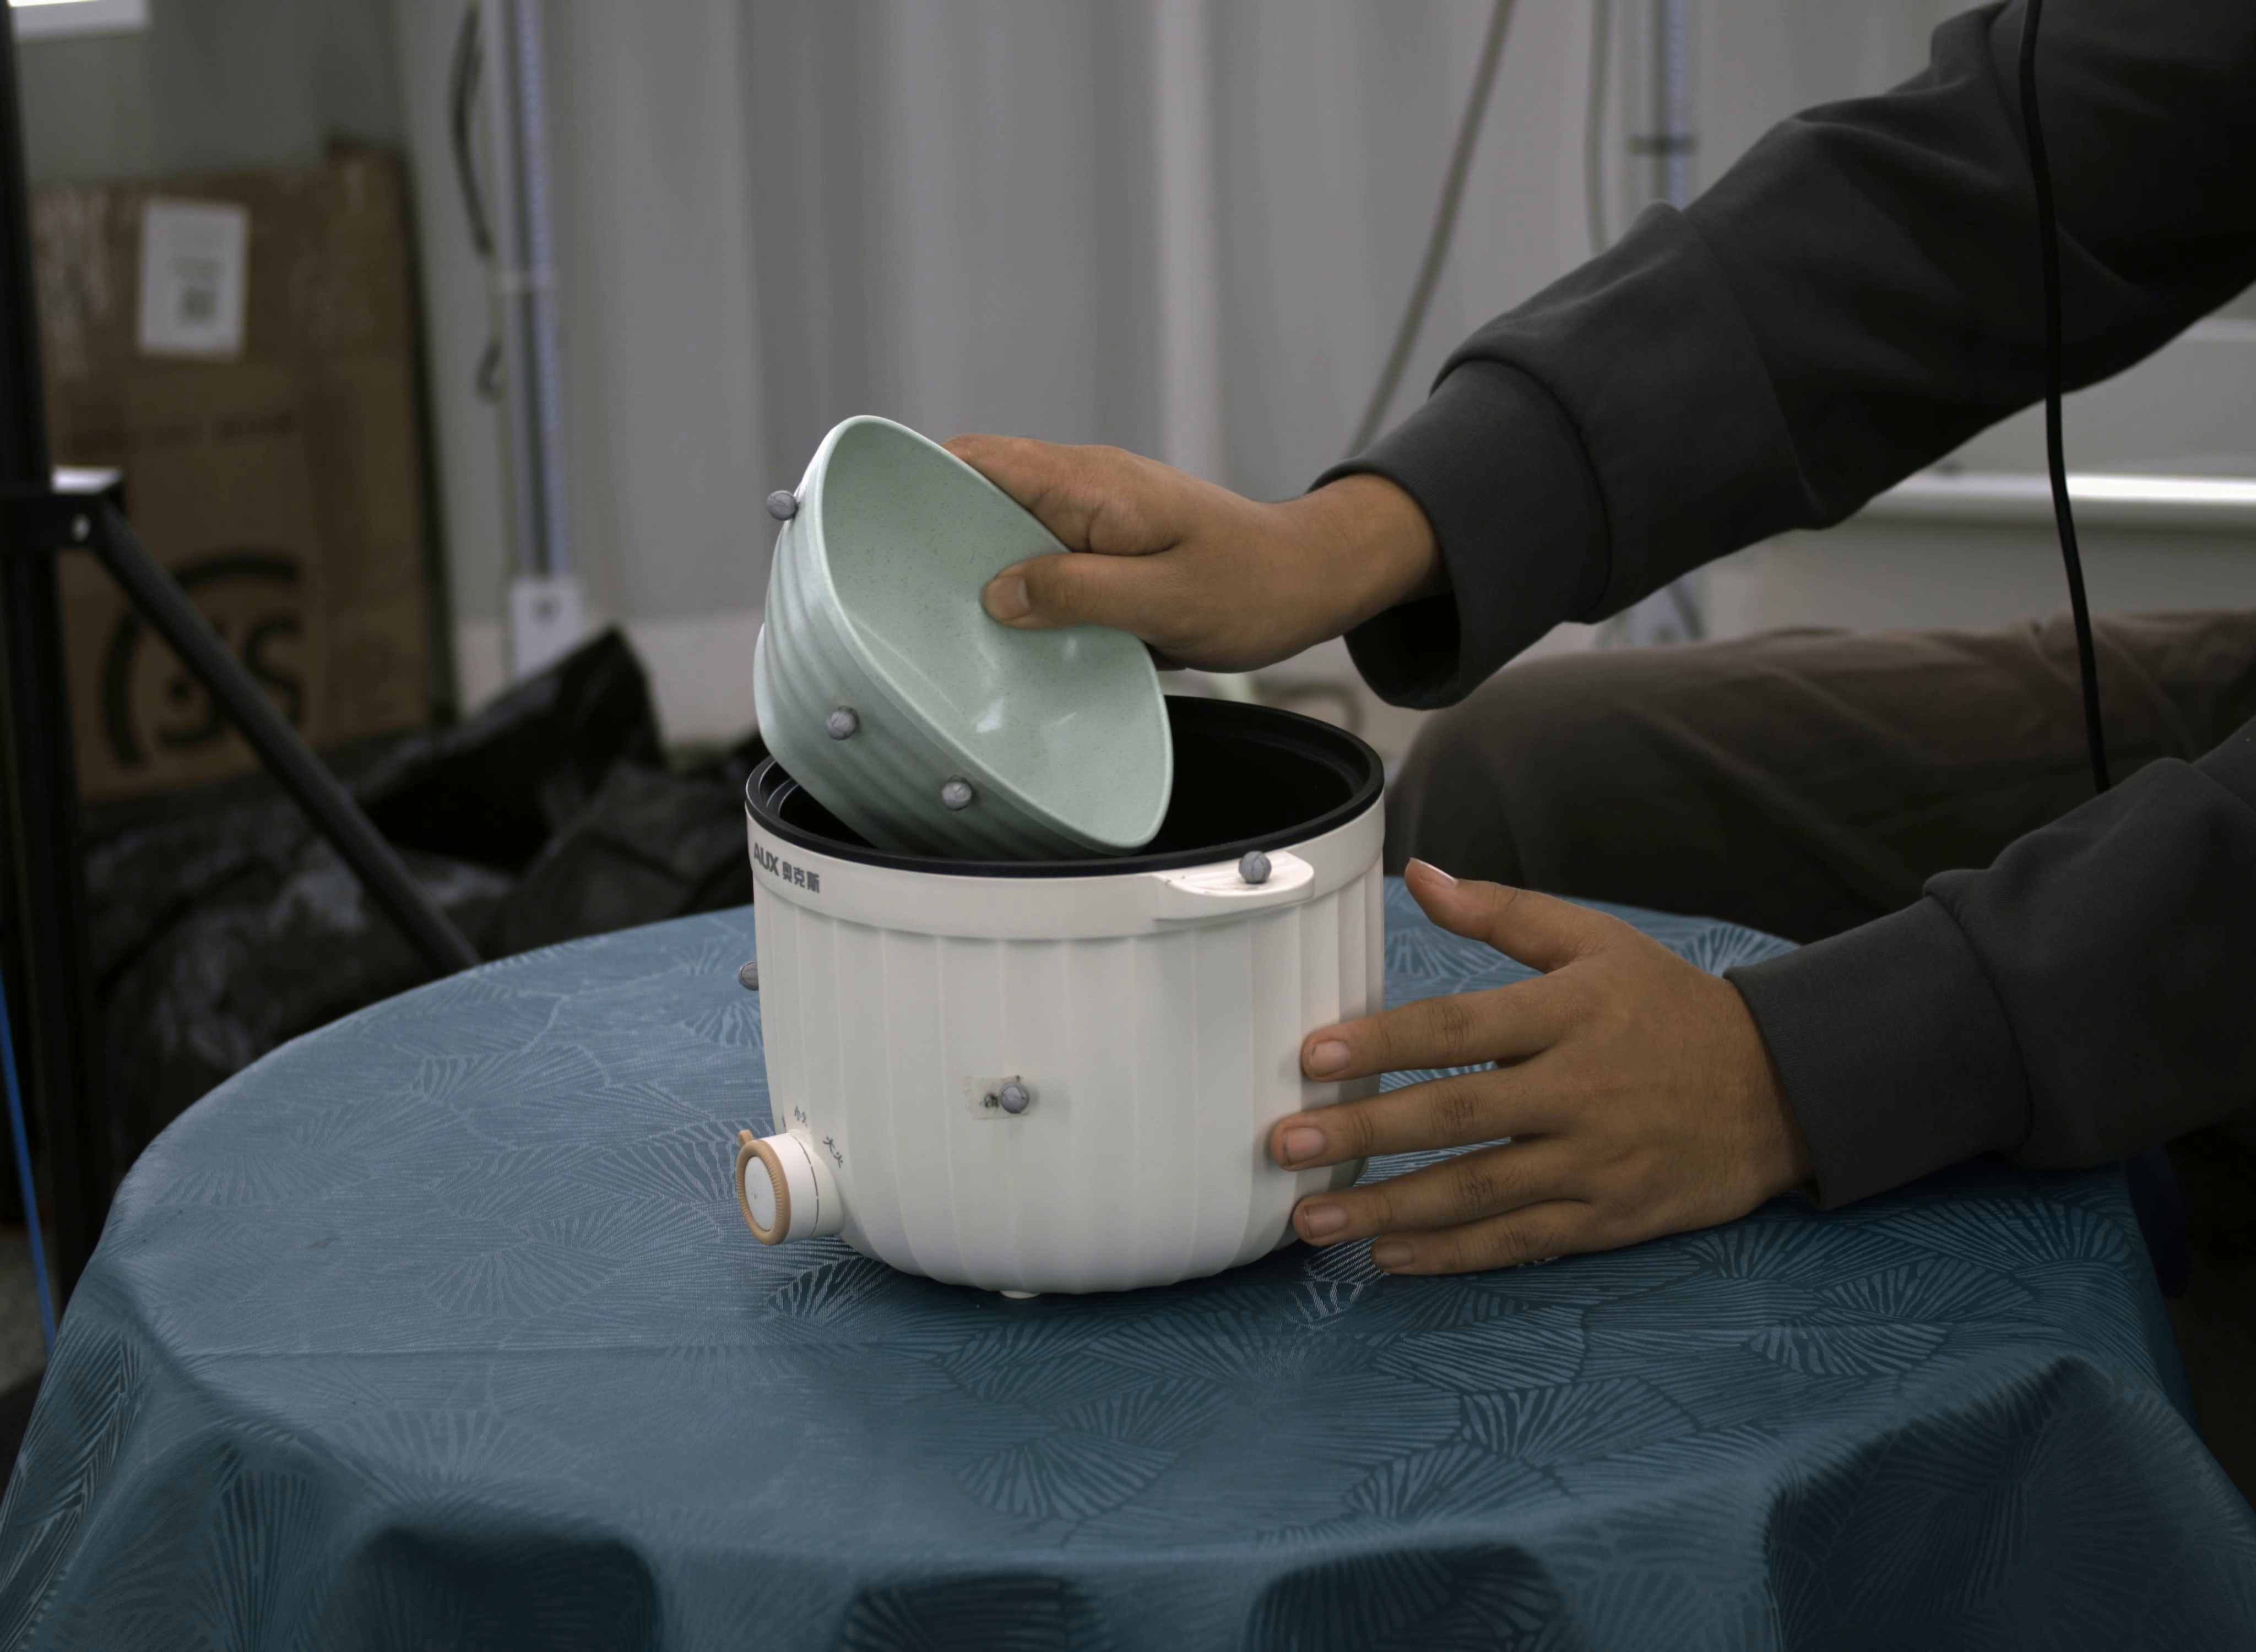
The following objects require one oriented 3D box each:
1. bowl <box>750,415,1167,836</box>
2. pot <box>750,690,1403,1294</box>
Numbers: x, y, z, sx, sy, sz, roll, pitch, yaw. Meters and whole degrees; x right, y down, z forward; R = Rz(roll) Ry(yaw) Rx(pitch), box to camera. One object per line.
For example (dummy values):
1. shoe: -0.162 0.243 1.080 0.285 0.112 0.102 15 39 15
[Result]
1. bowl: -0.057 -0.039 1.513 0.059 0.152 0.149 -39 -2 27
2. pot: -0.017 0.049 1.510 0.186 0.143 0.245 -7 14 -28
